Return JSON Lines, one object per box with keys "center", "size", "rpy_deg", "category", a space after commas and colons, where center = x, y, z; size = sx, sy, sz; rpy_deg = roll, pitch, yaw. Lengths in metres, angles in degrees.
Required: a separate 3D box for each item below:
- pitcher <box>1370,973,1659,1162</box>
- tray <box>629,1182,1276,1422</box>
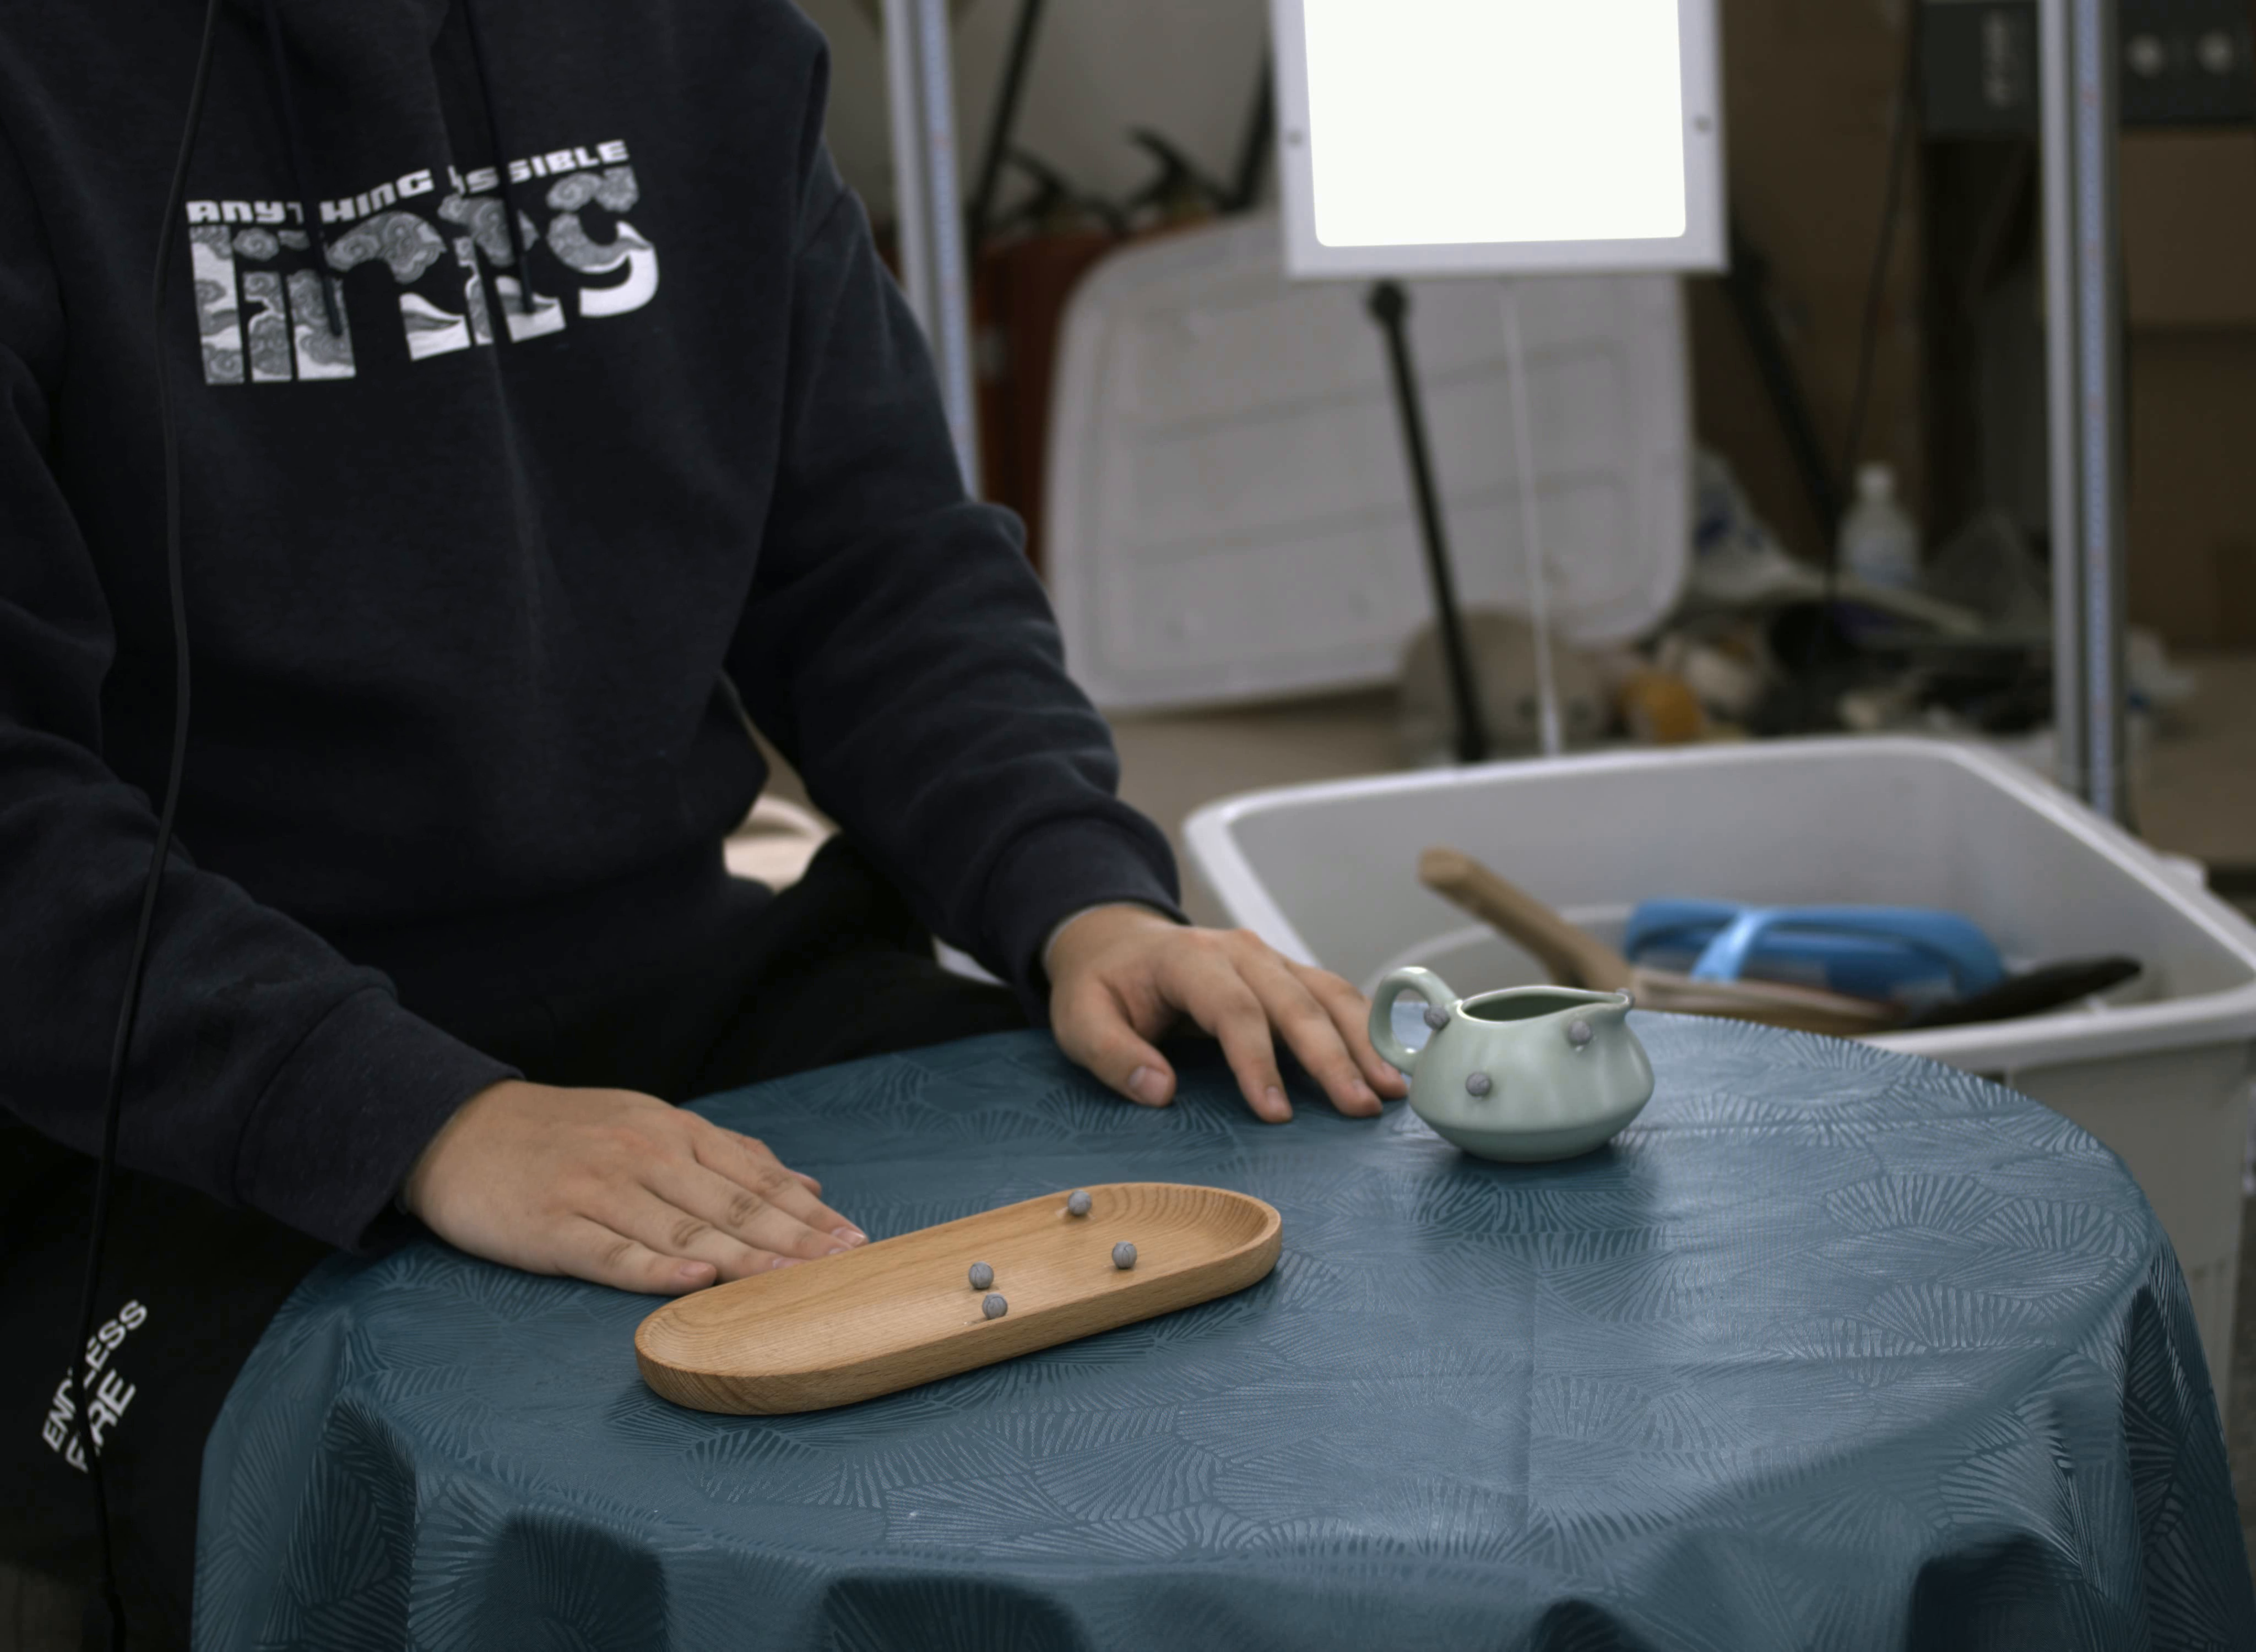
{"center": [0.132, 0.083, 1.915], "size": [0.110, 0.060, 0.084], "rpy_deg": [2, 14, 36], "category": "pitcher"}
{"center": [-0.054, 0.152, 1.778], "size": [0.226, 0.020, 0.104], "rpy_deg": [-16, 16, -31], "category": "tray"}
